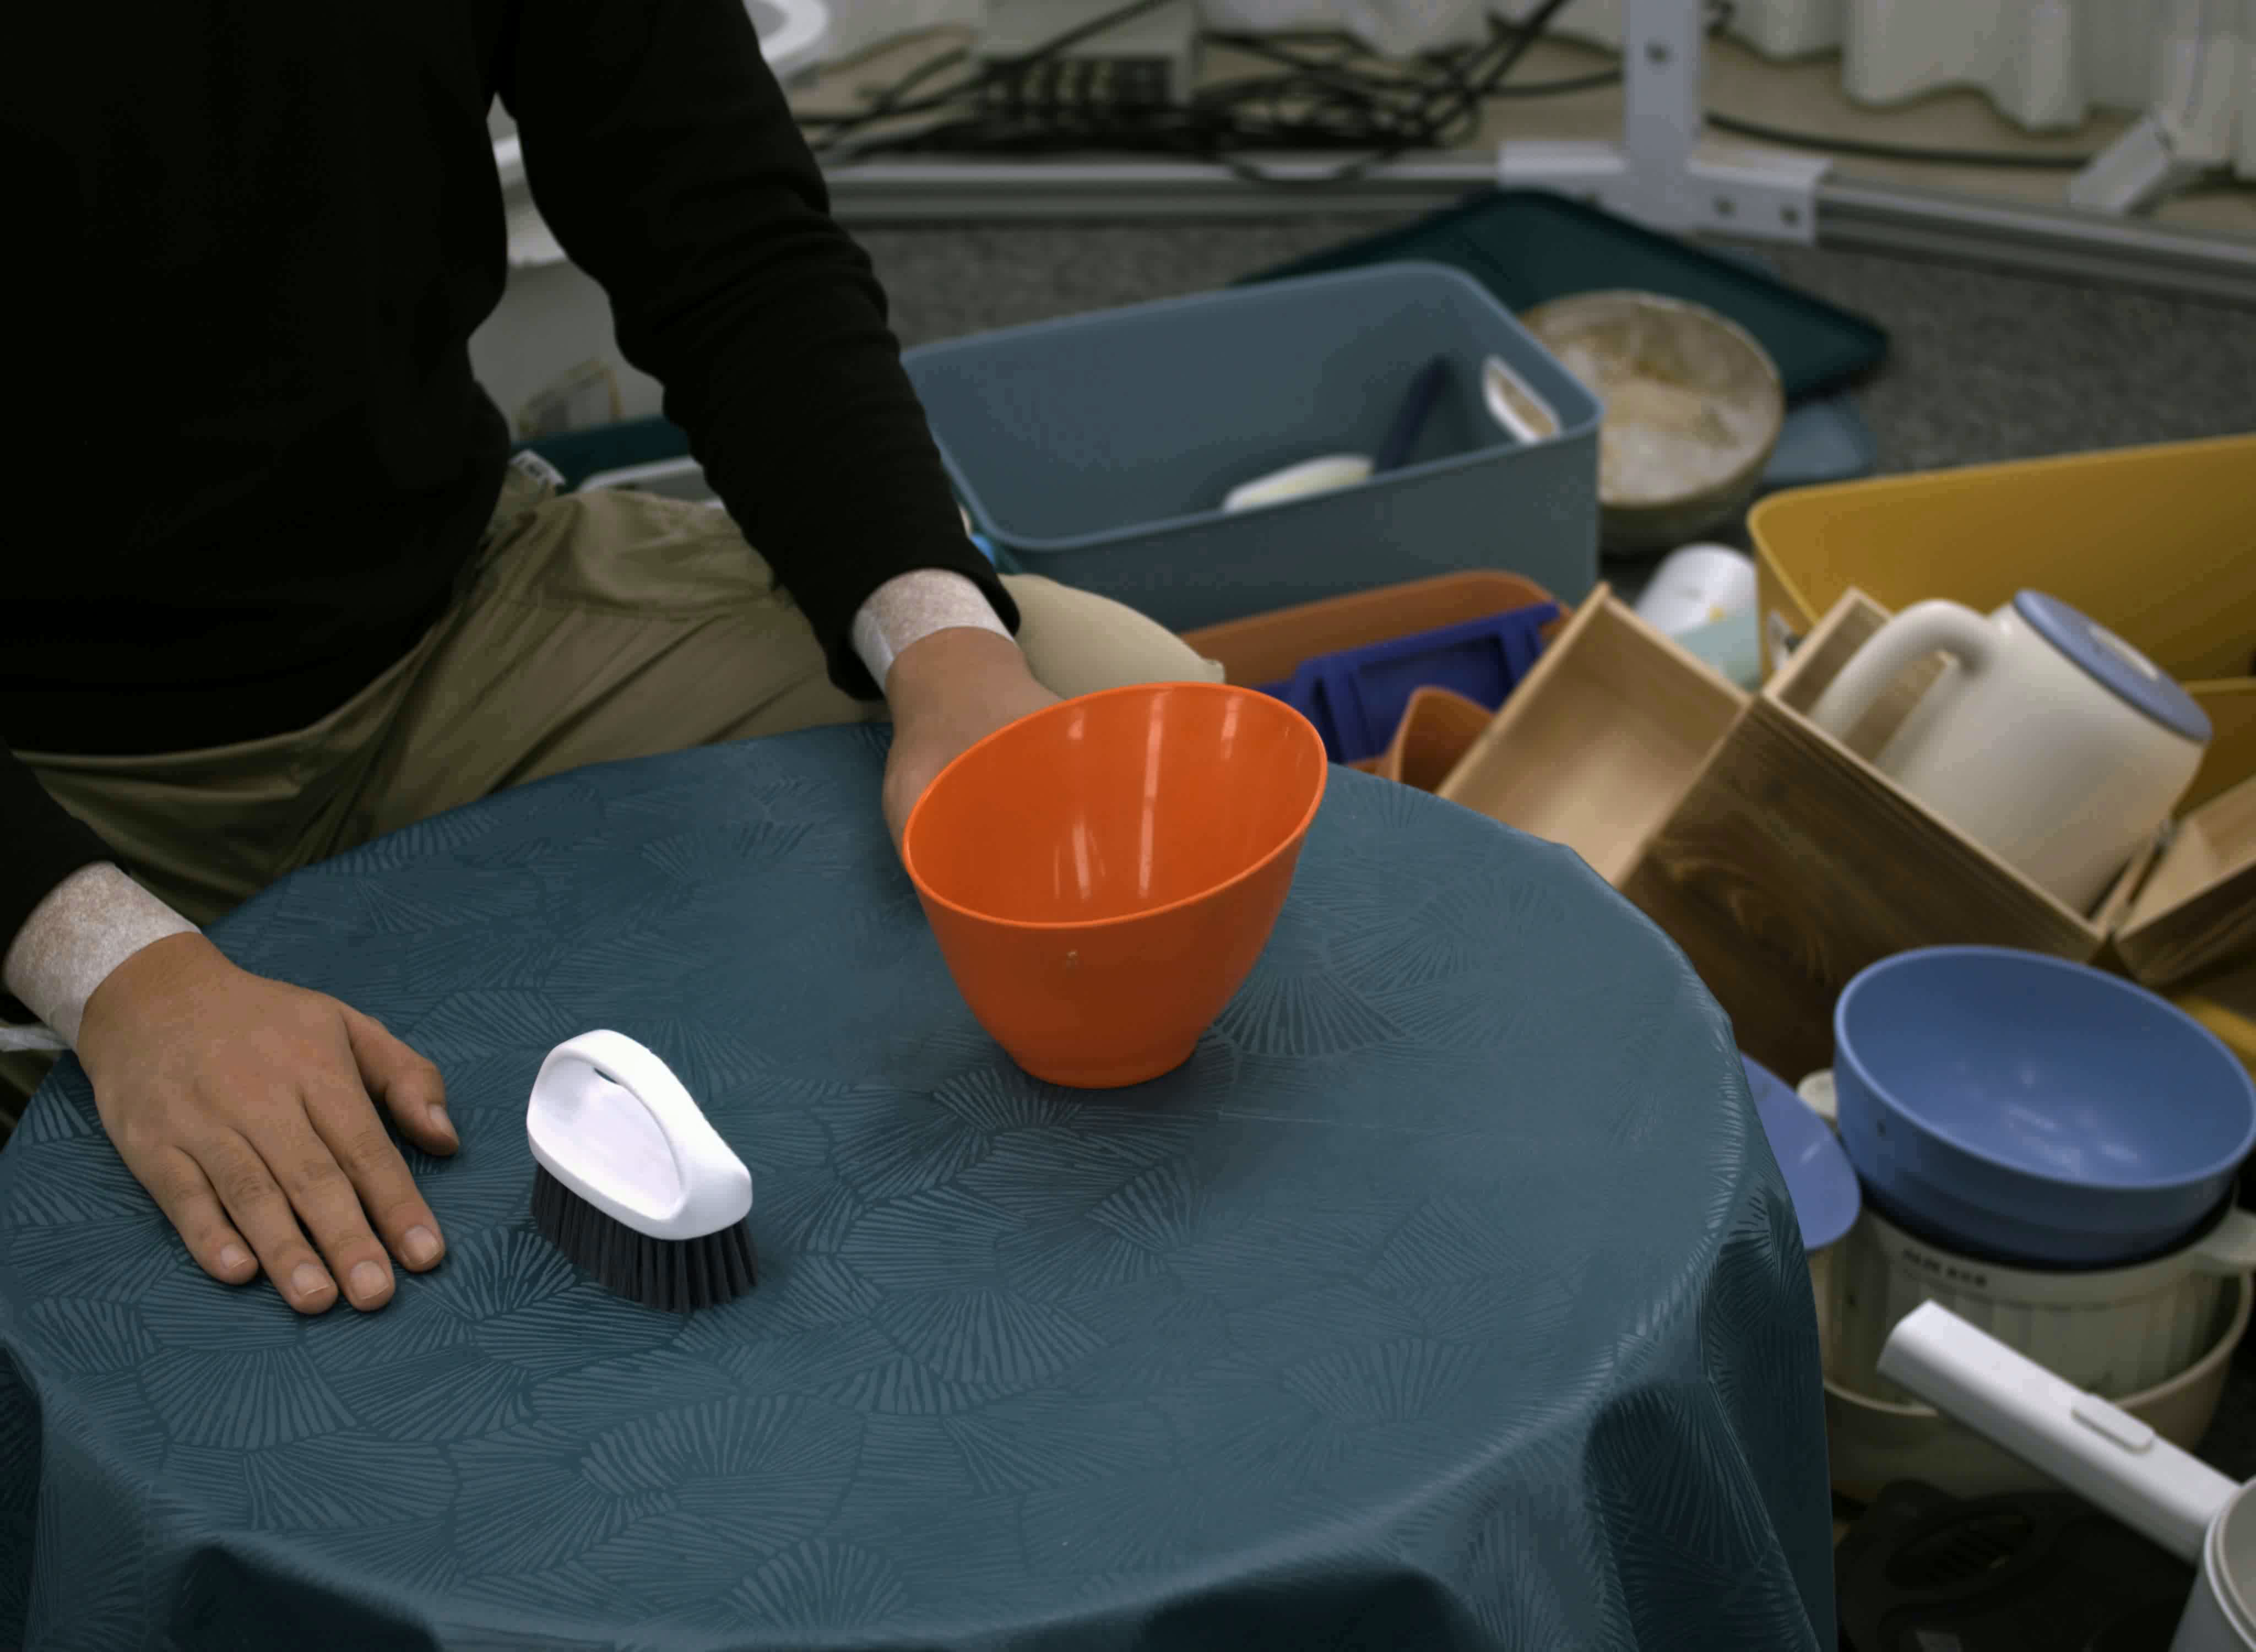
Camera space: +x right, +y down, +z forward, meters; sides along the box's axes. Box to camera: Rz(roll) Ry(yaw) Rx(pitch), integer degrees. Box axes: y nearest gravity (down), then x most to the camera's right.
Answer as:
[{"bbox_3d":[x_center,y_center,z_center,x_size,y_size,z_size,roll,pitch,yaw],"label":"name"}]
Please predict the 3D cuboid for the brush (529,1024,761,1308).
[{"bbox_3d":[-0.160,0.104,1.830,0.050,0.072,0.099,-20,32,-29],"label":"brush"}]

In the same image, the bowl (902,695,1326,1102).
[{"bbox_3d":[-0.001,0.031,1.932,0.147,0.103,0.150,-4,26,2],"label":"bowl"}]
